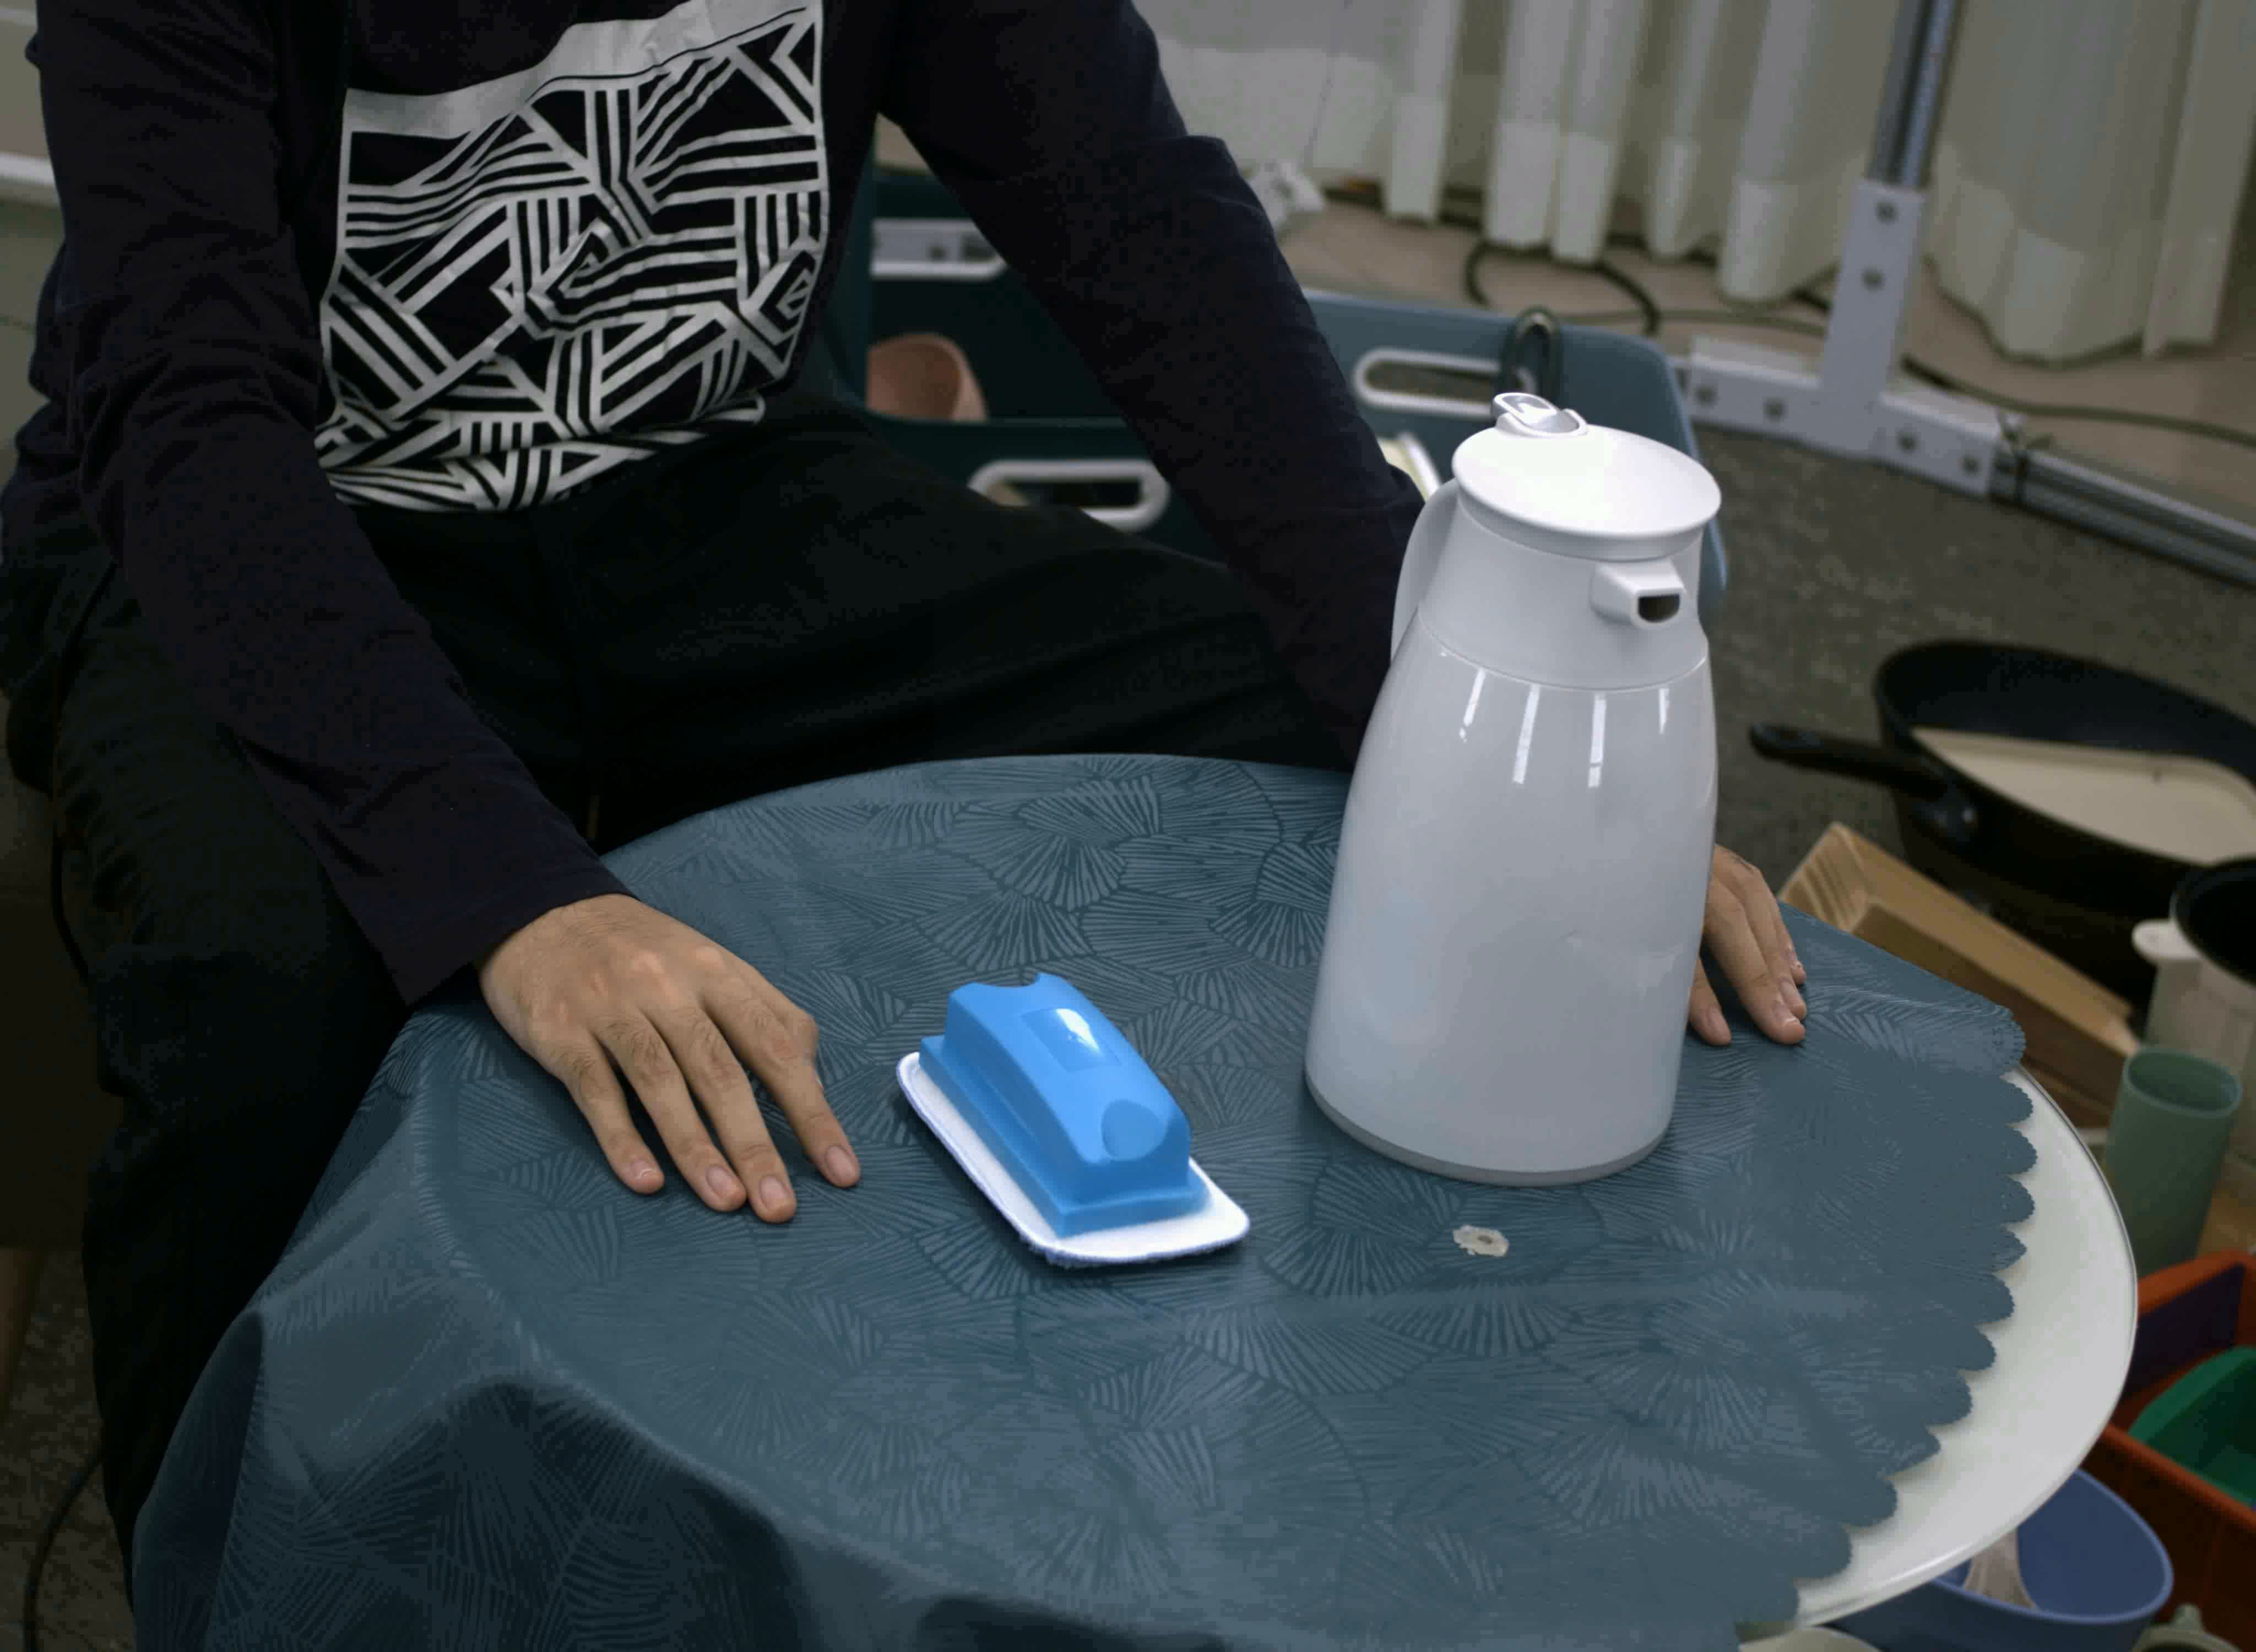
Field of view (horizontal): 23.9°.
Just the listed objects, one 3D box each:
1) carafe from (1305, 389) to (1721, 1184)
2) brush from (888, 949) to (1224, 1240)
[{"bbox_3d":[0.132,-0.024,1.852,0.131,0.248,0.169,-6,28,-24],"label":"carafe"},{"bbox_3d":[-0.022,0.087,1.807,0.083,0.056,0.145,-2,30,-24],"label":"brush"}]
